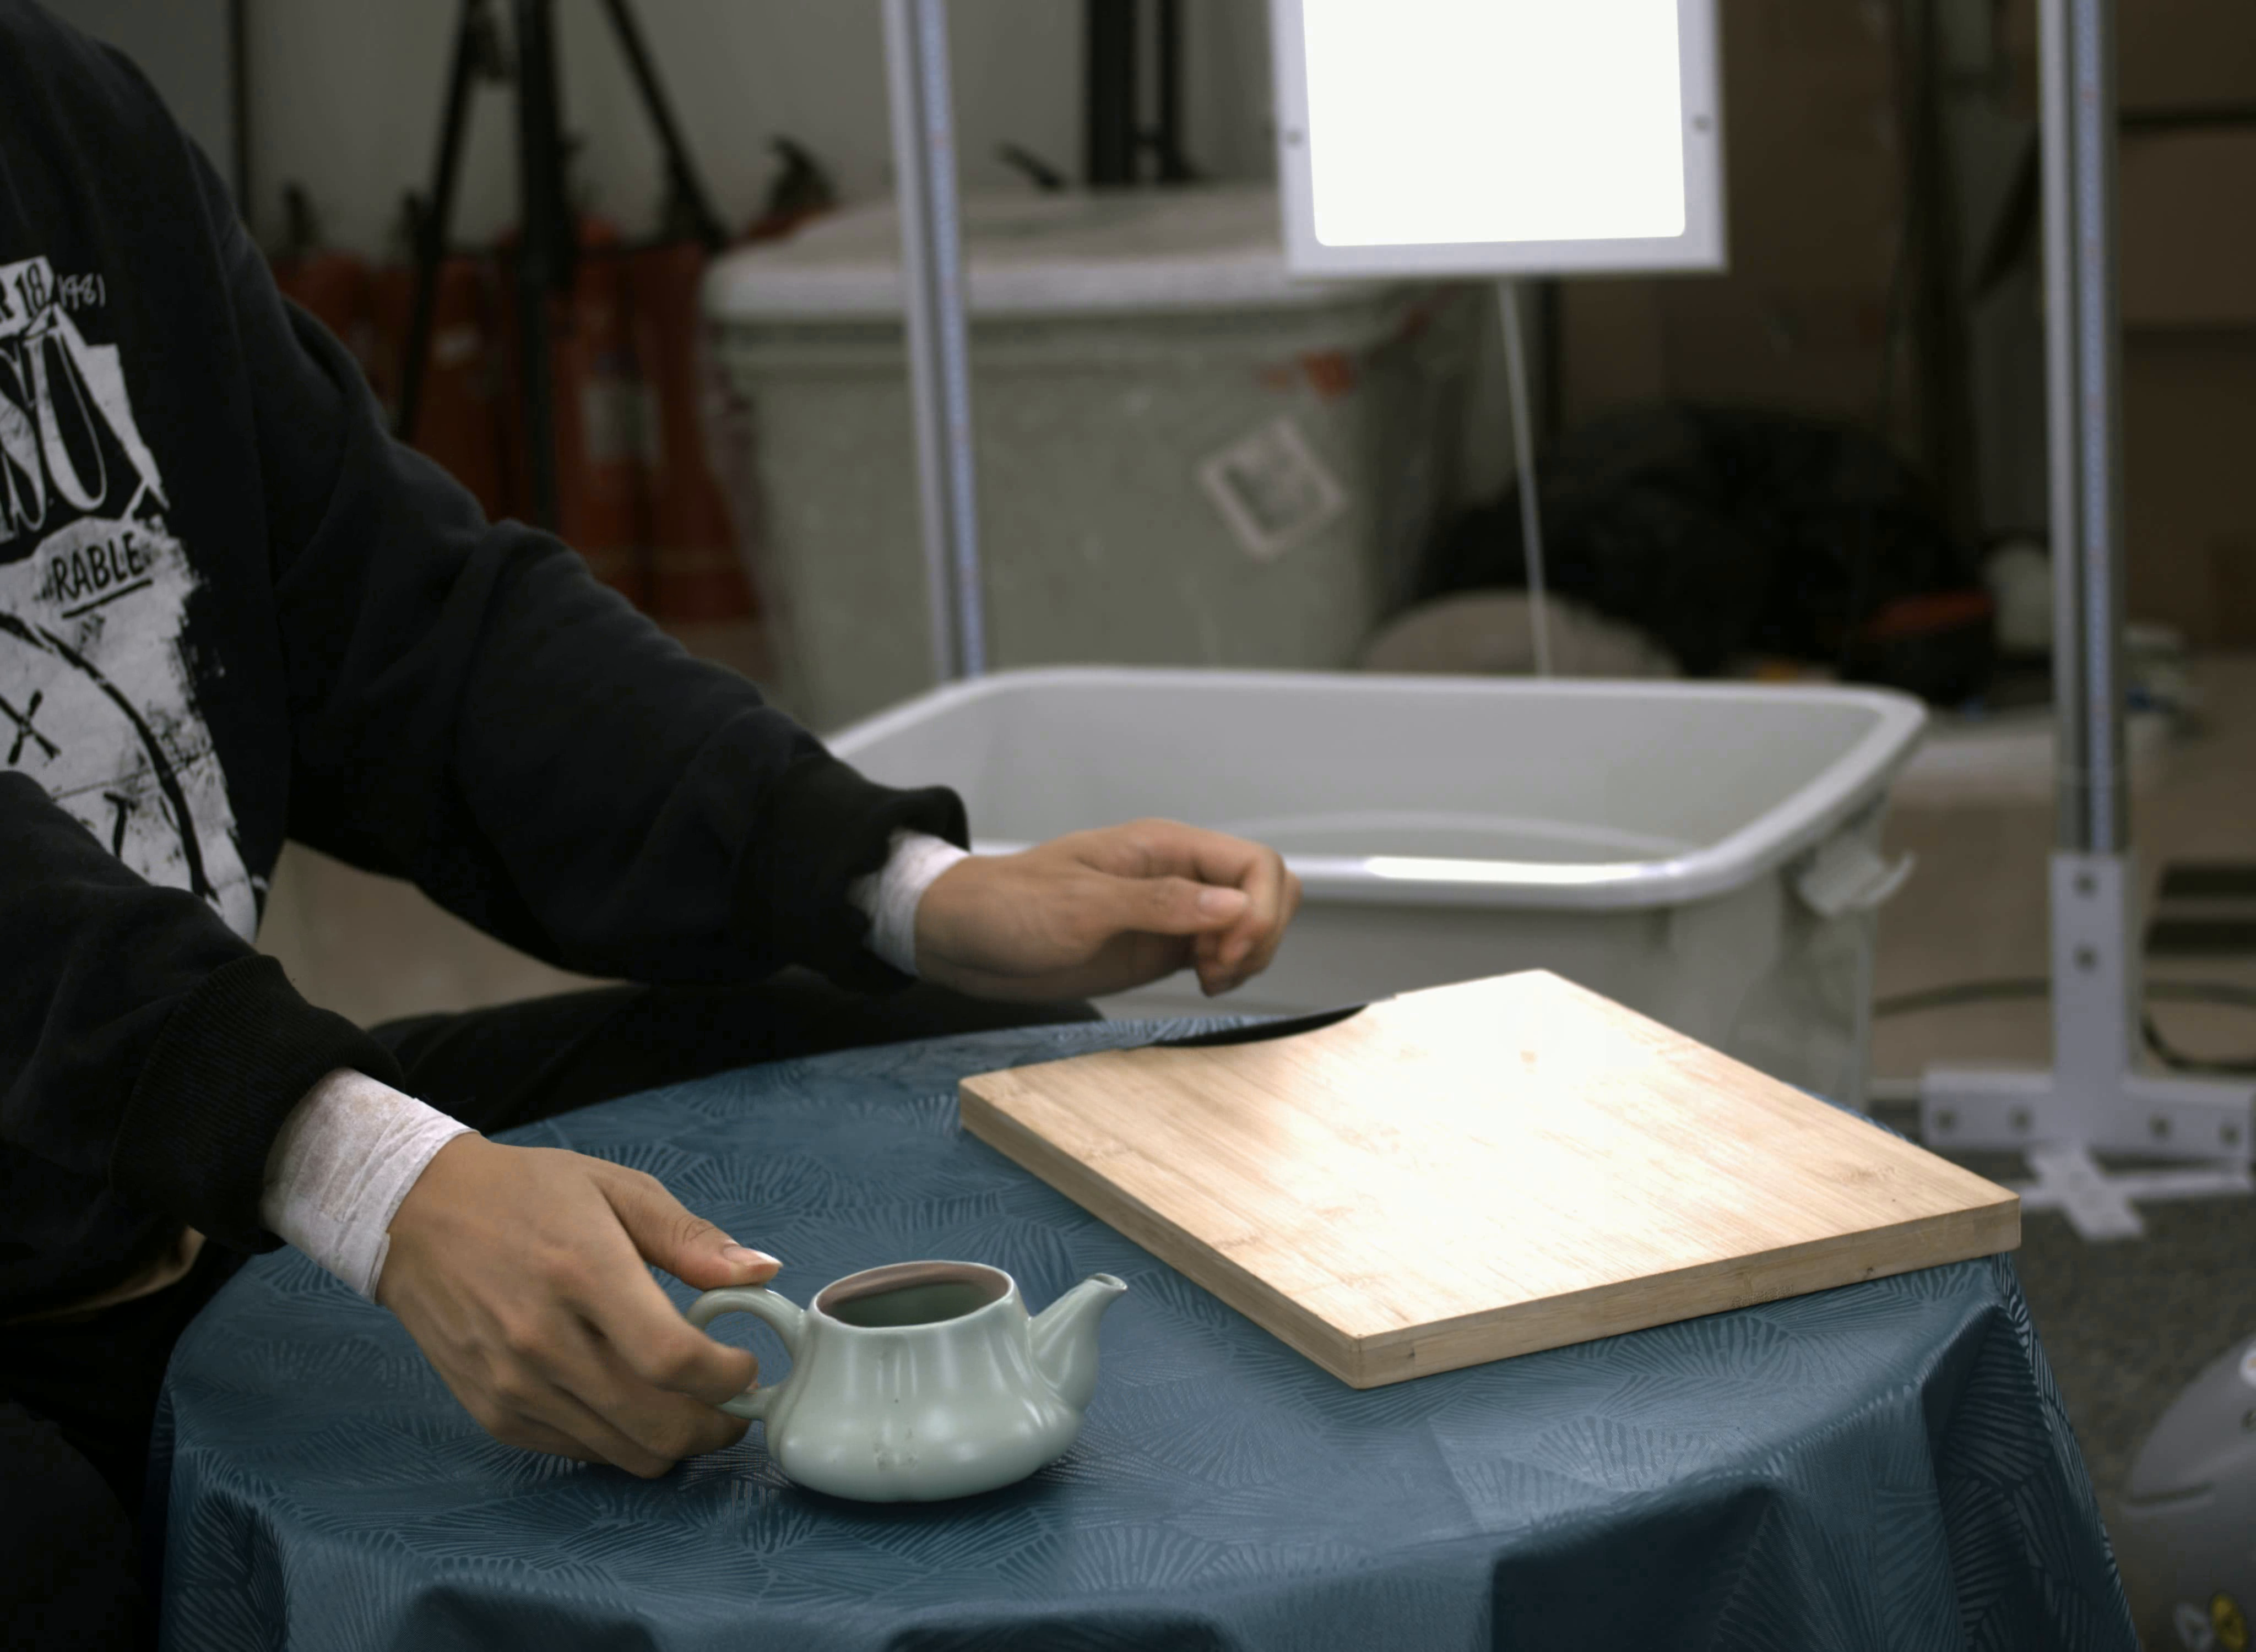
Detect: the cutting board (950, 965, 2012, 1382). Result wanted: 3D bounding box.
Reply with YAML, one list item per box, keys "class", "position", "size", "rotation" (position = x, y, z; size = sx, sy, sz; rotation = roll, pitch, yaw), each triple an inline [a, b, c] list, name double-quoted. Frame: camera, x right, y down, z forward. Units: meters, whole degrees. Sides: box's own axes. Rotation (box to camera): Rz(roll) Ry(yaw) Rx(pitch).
- class: "cutting board"
  position: [0.112, 0.113, 1.880]
  size: [0.246, 0.023, 0.354]
  rotation: [-10, 15, -21]

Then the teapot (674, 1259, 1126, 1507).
- class: "teapot"
  position: [-0.066, 0.165, 1.642]
  size: [0.137, 0.061, 0.095]
  rotation: [-3, 15, 7]
